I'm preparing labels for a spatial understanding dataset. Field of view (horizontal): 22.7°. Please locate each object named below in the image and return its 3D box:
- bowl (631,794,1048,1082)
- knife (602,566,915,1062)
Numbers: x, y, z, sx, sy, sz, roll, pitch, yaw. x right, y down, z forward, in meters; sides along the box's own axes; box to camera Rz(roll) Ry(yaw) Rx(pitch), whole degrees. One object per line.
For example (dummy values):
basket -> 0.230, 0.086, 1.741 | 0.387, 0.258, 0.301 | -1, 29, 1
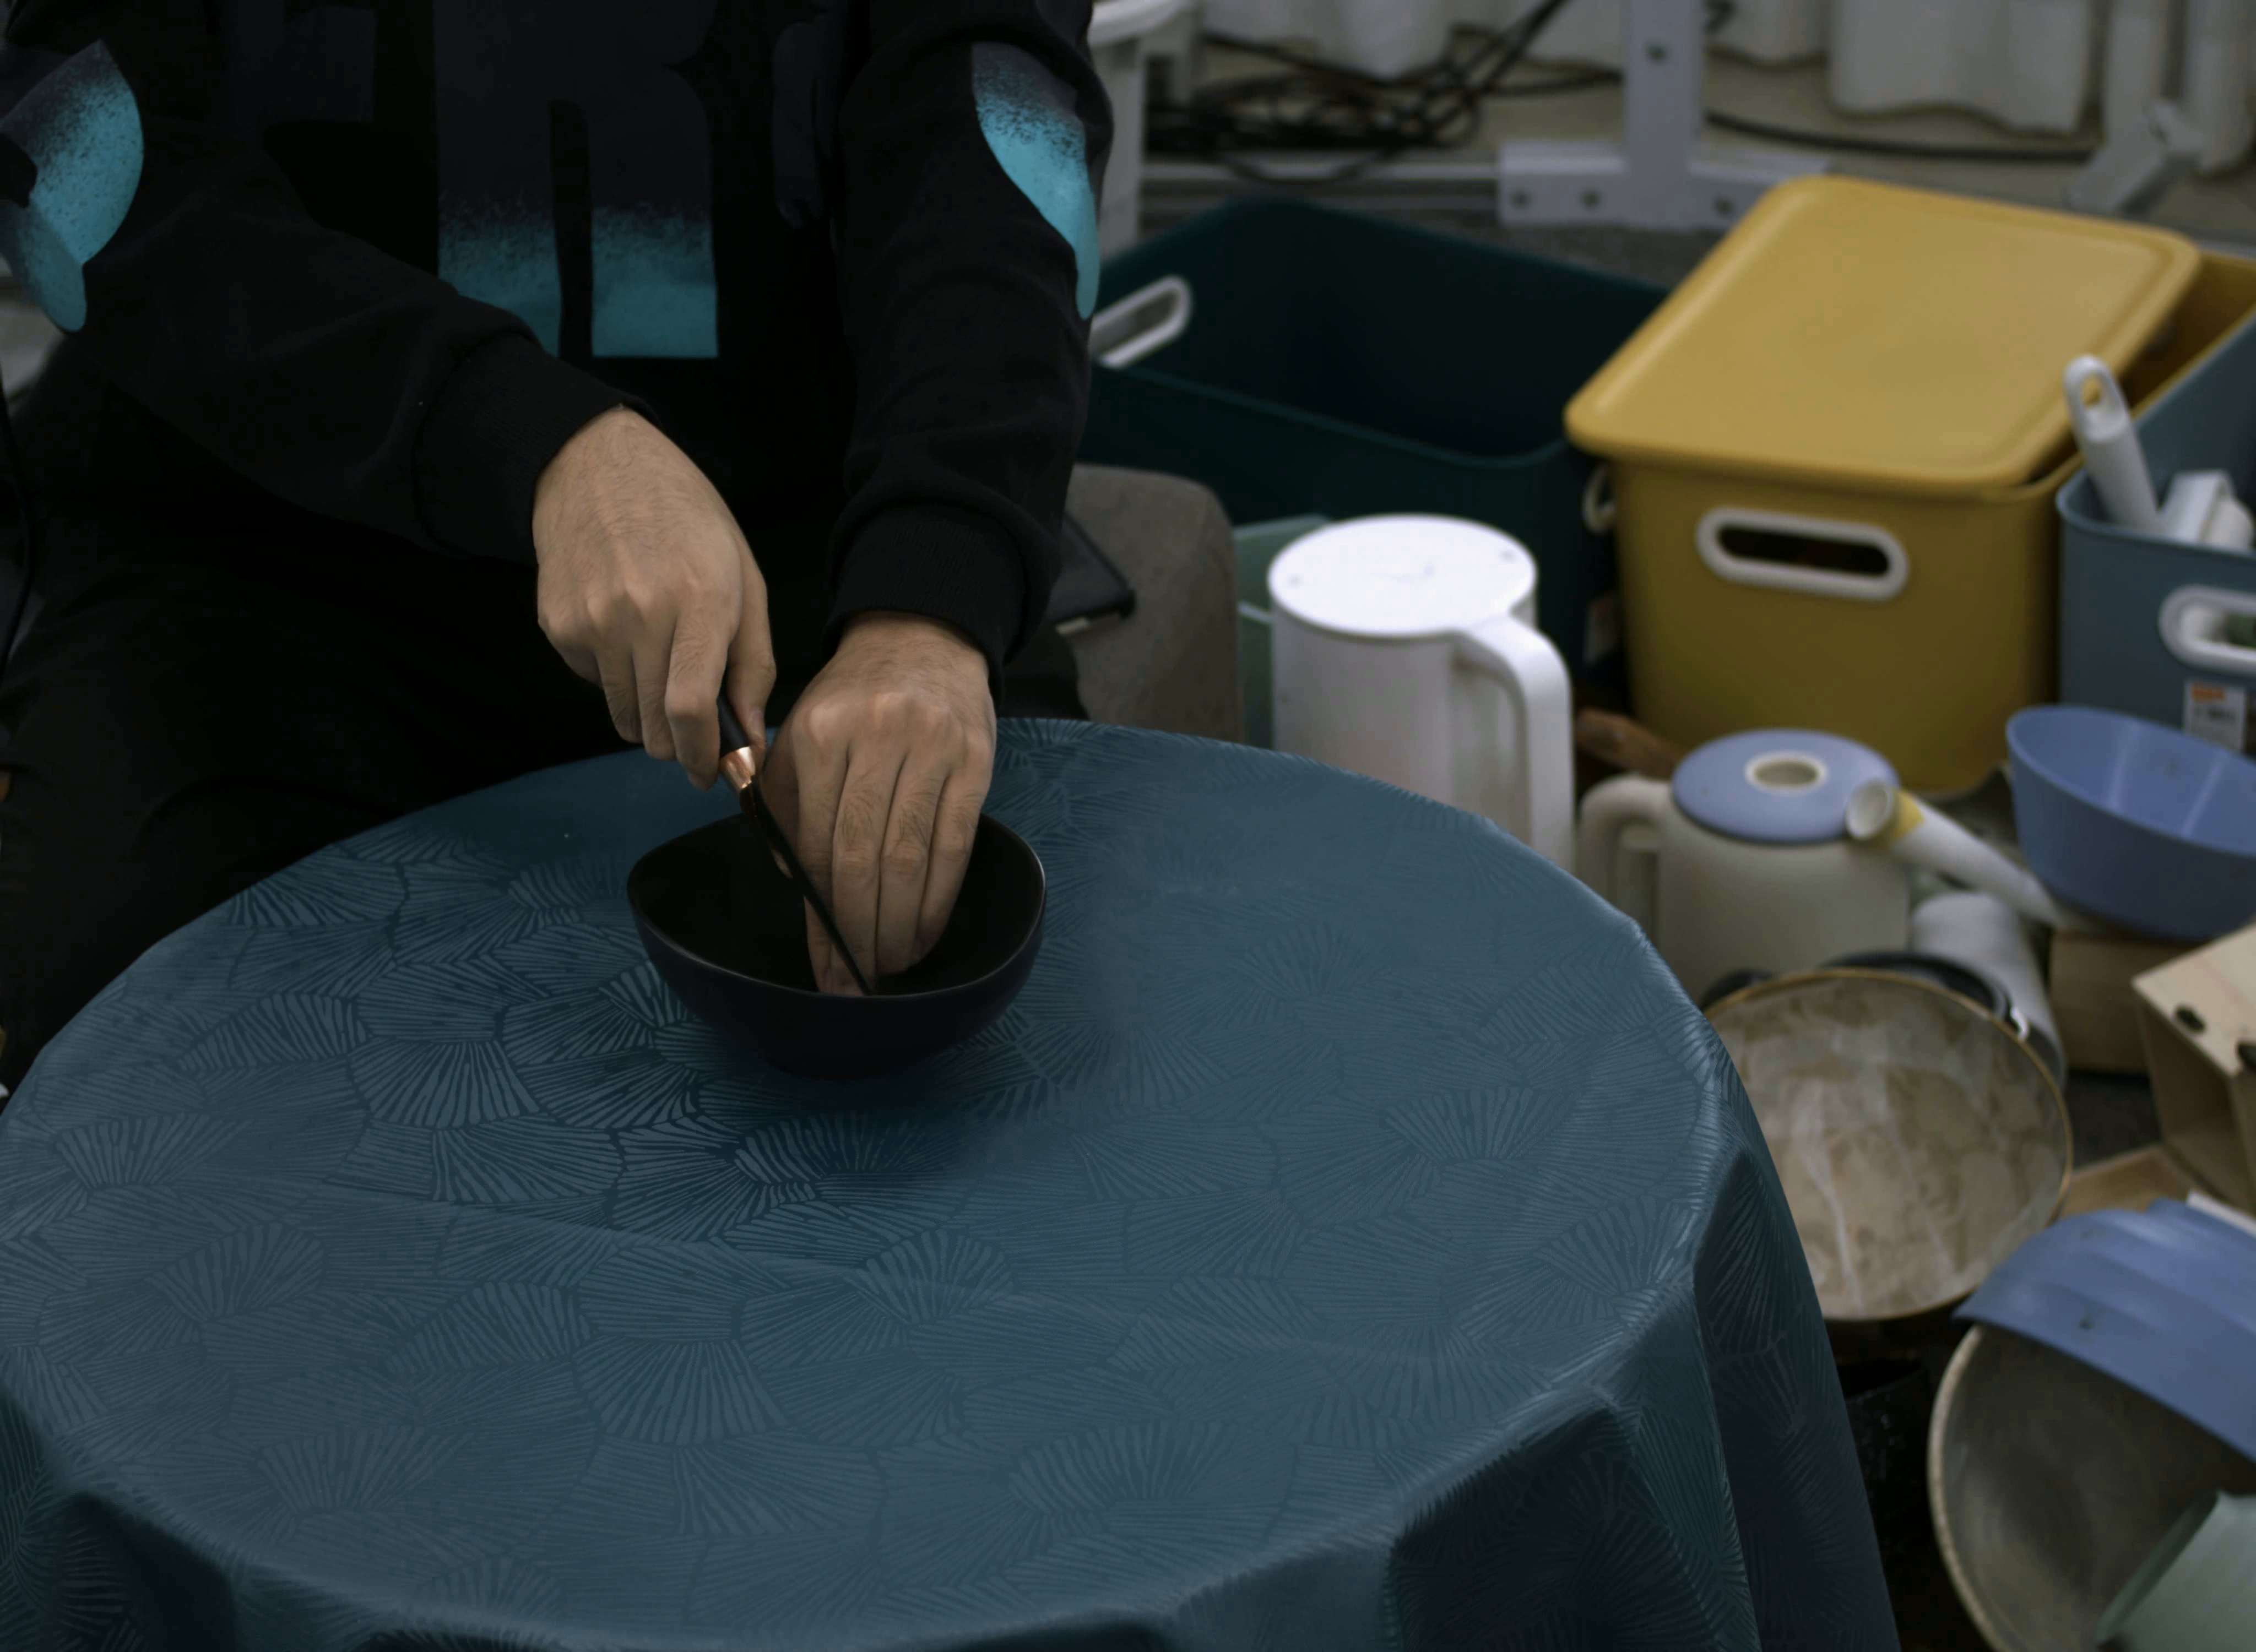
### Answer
bowl -> -0.100, 0.046, 1.948 | 0.138, 0.066, 0.170 | -20, 30, -30
knife -> -0.129, -0.006, 1.972 | 0.017, 0.026, 0.228 | -28, 61, -10
